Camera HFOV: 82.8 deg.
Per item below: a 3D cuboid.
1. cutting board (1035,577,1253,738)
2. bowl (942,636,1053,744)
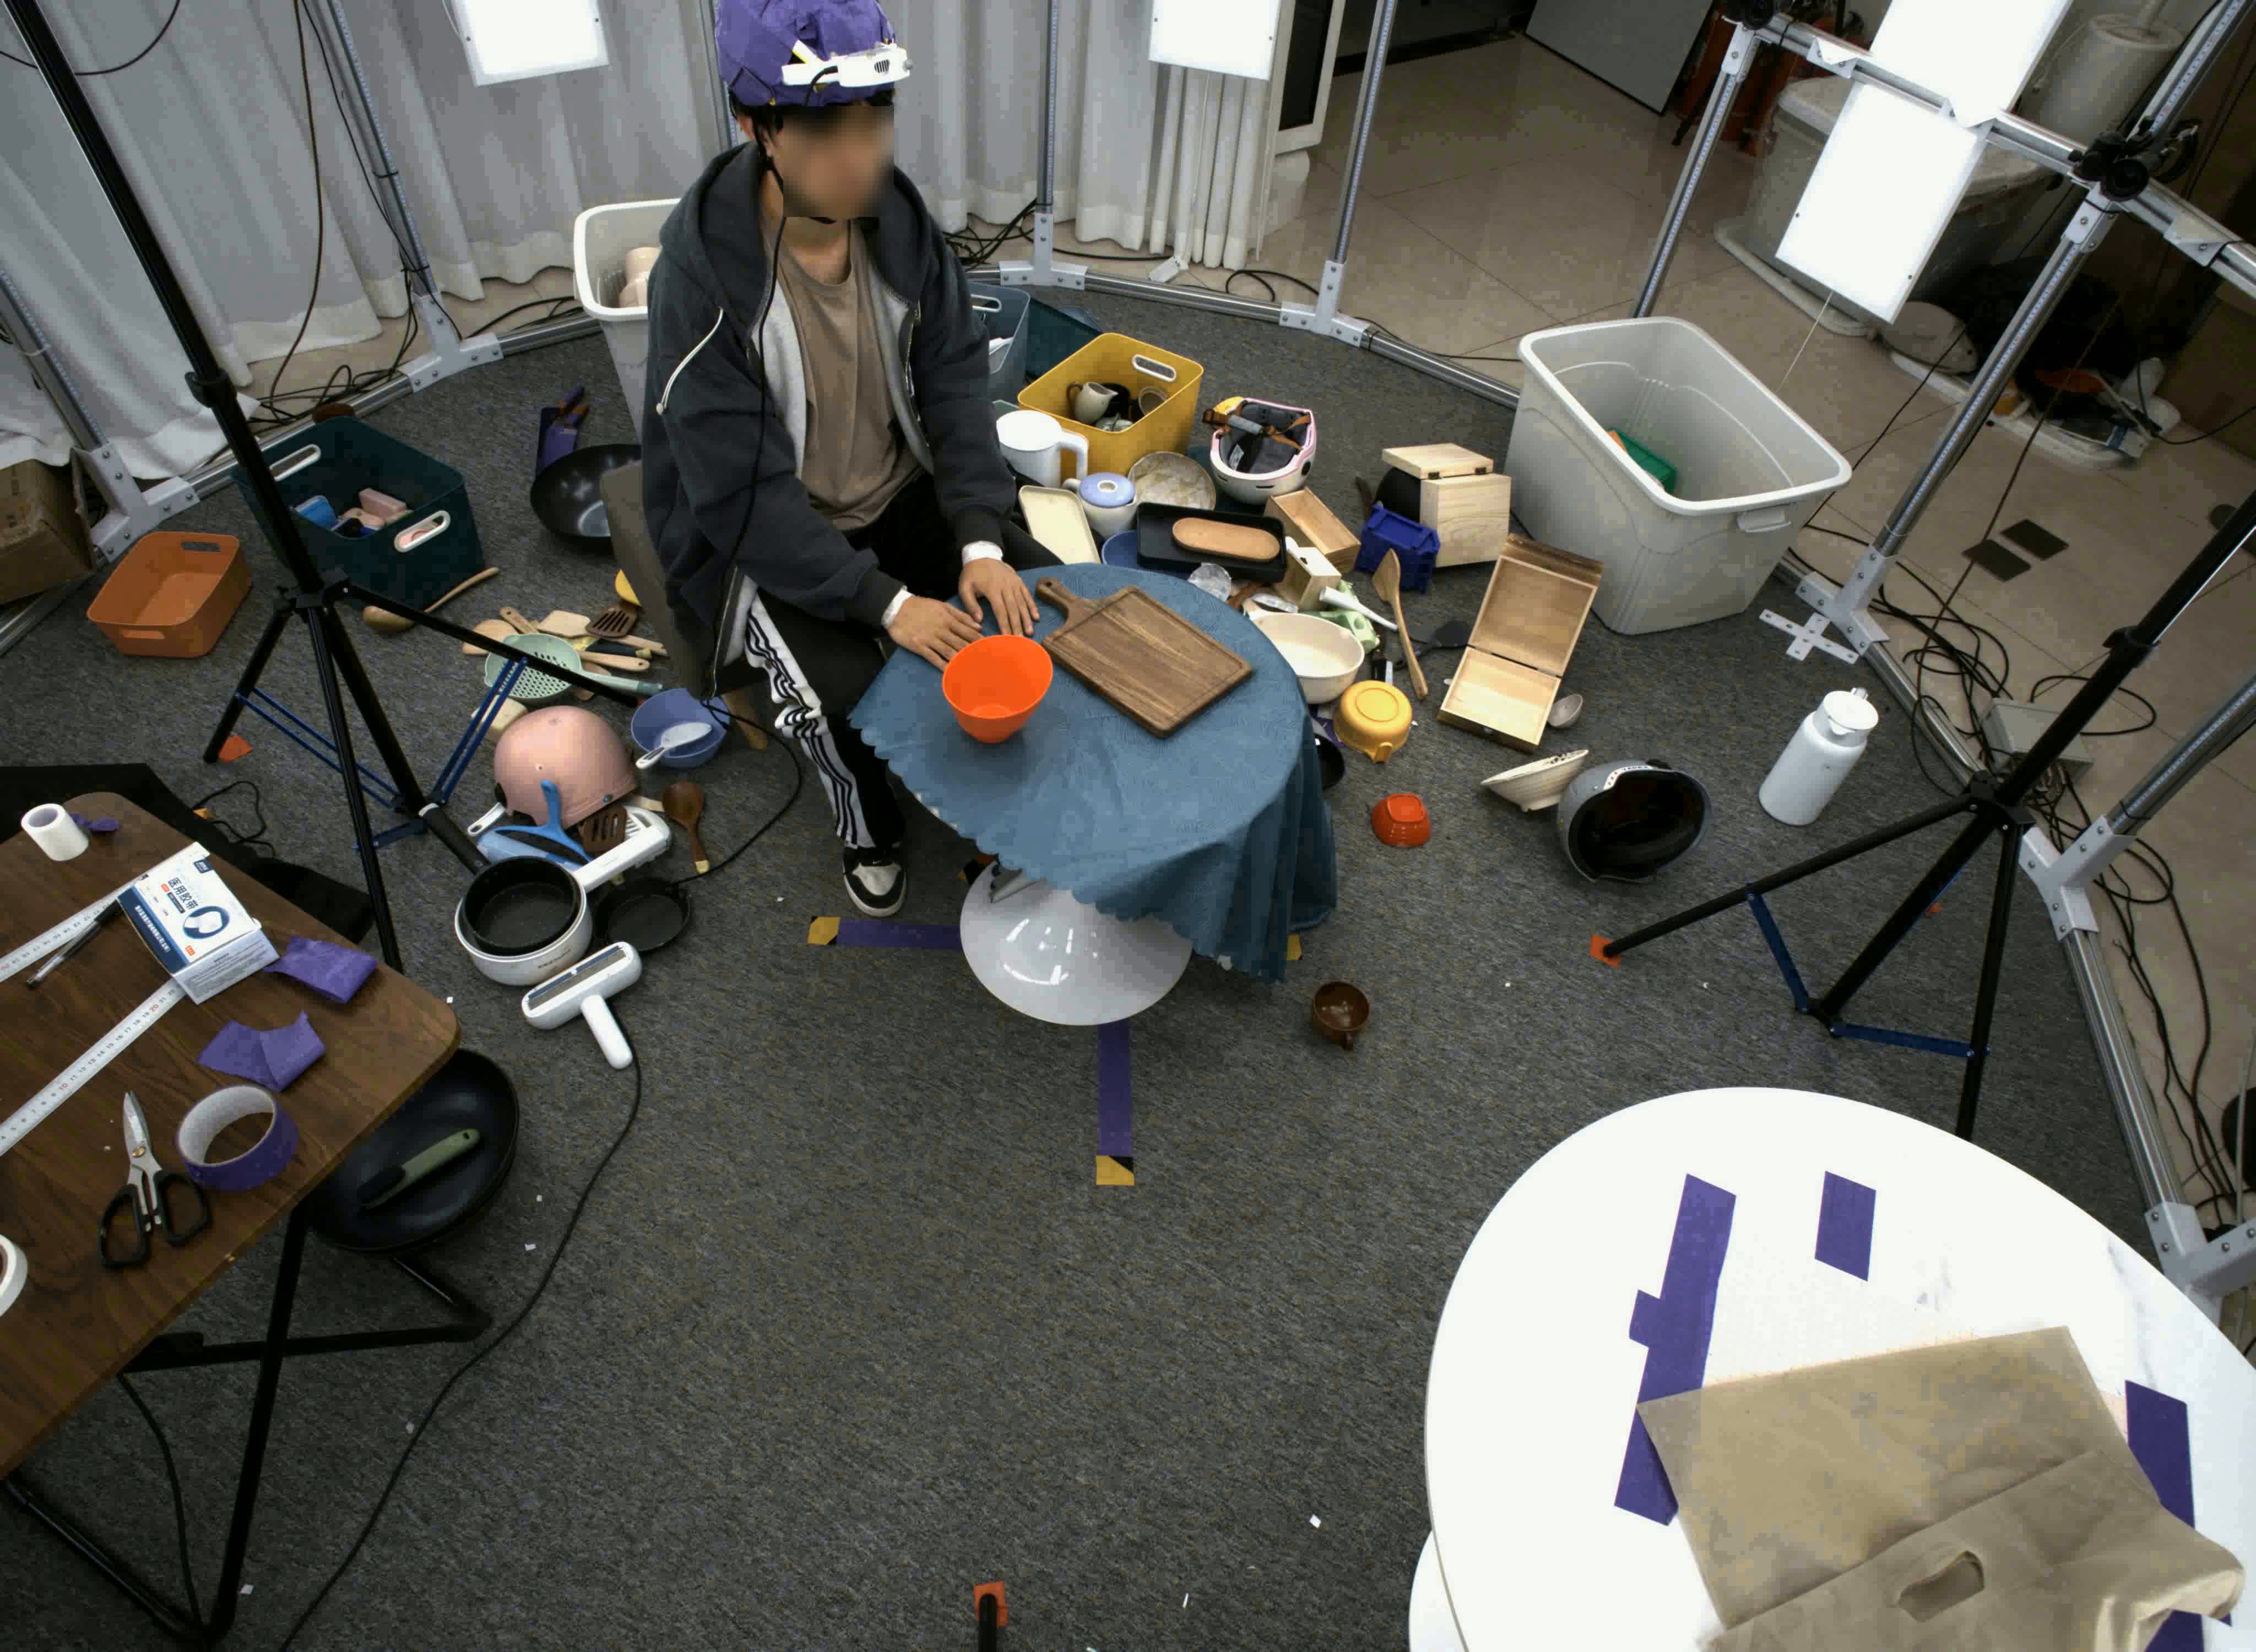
[{"bbox_3d":[-0.008,-0.273,1.890,0.357,0.022,0.203,38,56,26],"label":"cutting board"},{"bbox_3d":[-0.175,-0.173,1.739,0.148,0.102,0.152,2,49,-3],"label":"bowl"}]
